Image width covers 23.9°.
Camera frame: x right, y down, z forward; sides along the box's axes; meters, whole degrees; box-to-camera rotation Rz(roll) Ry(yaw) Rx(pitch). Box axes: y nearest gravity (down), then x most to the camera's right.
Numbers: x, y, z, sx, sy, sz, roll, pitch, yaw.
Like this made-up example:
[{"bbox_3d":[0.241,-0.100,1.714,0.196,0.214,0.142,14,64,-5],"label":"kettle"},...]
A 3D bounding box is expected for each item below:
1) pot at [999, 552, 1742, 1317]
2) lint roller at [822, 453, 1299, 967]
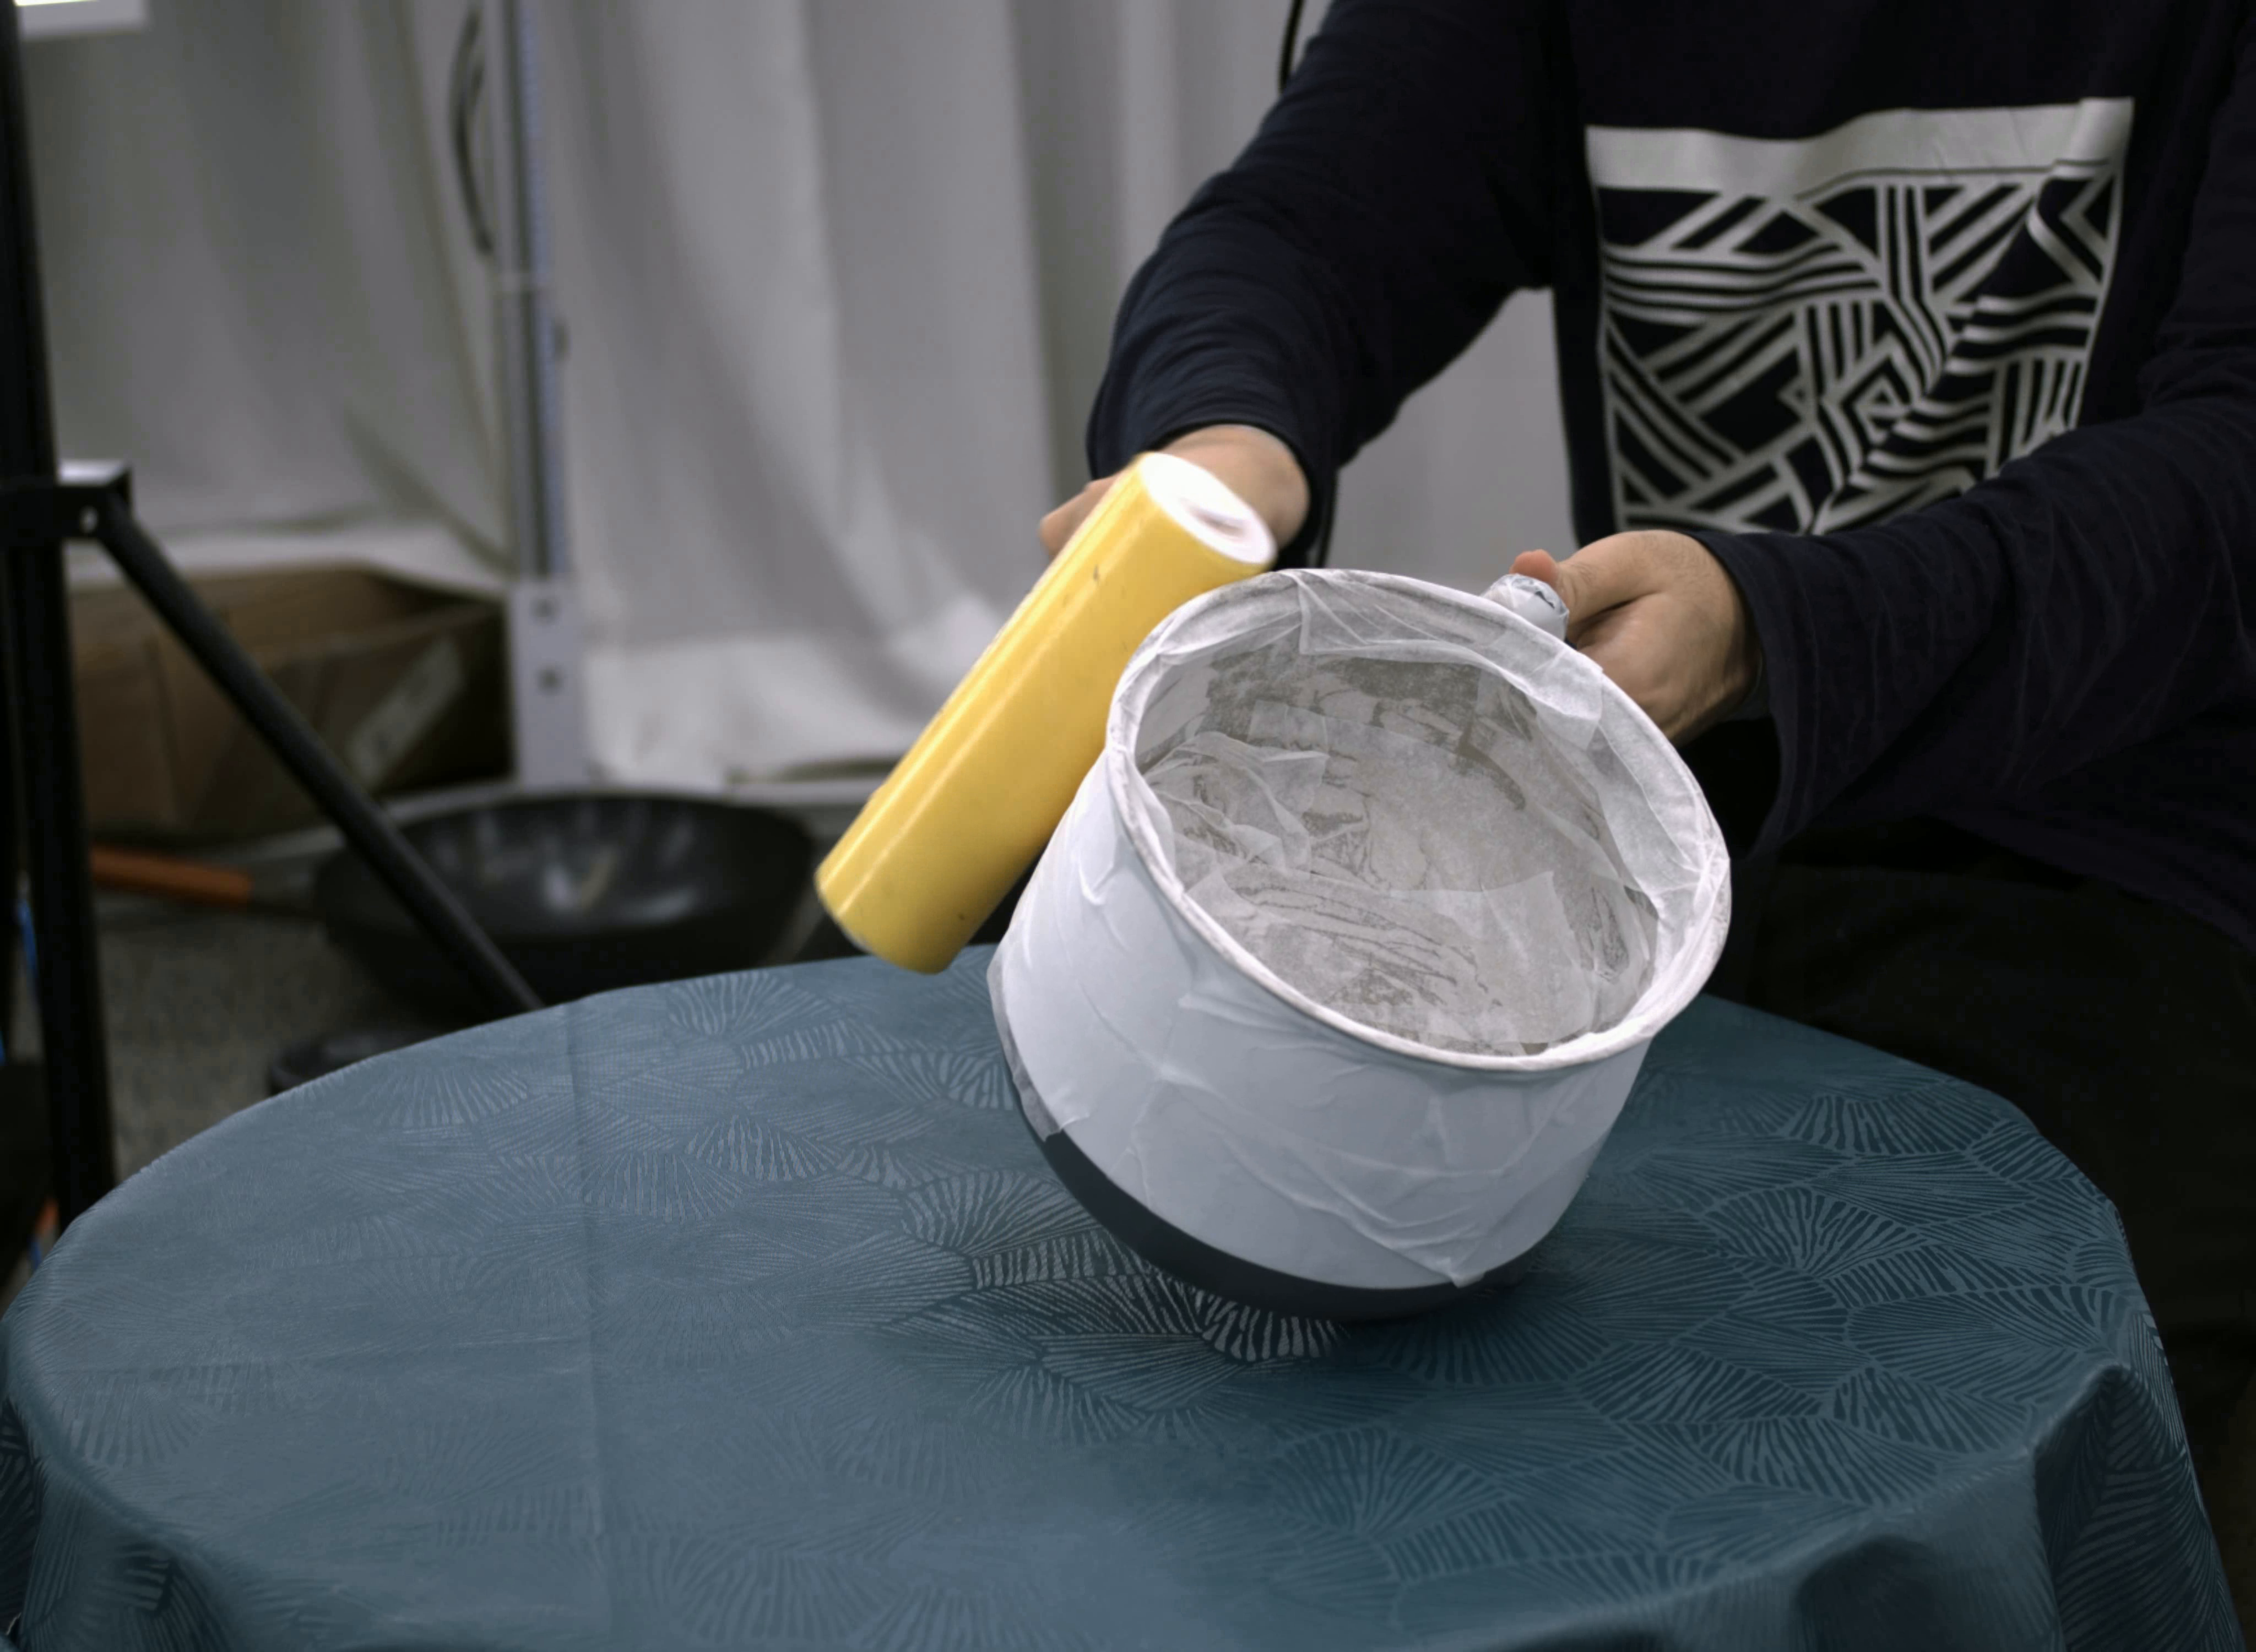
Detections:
[{"bbox_3d":[0.070,0.017,1.470,0.178,0.137,0.233,28,46,1],"label":"pot"},{"bbox_3d":[-0.008,-0.056,1.563,0.051,0.175,0.192,38,23,-7],"label":"lint roller"}]
